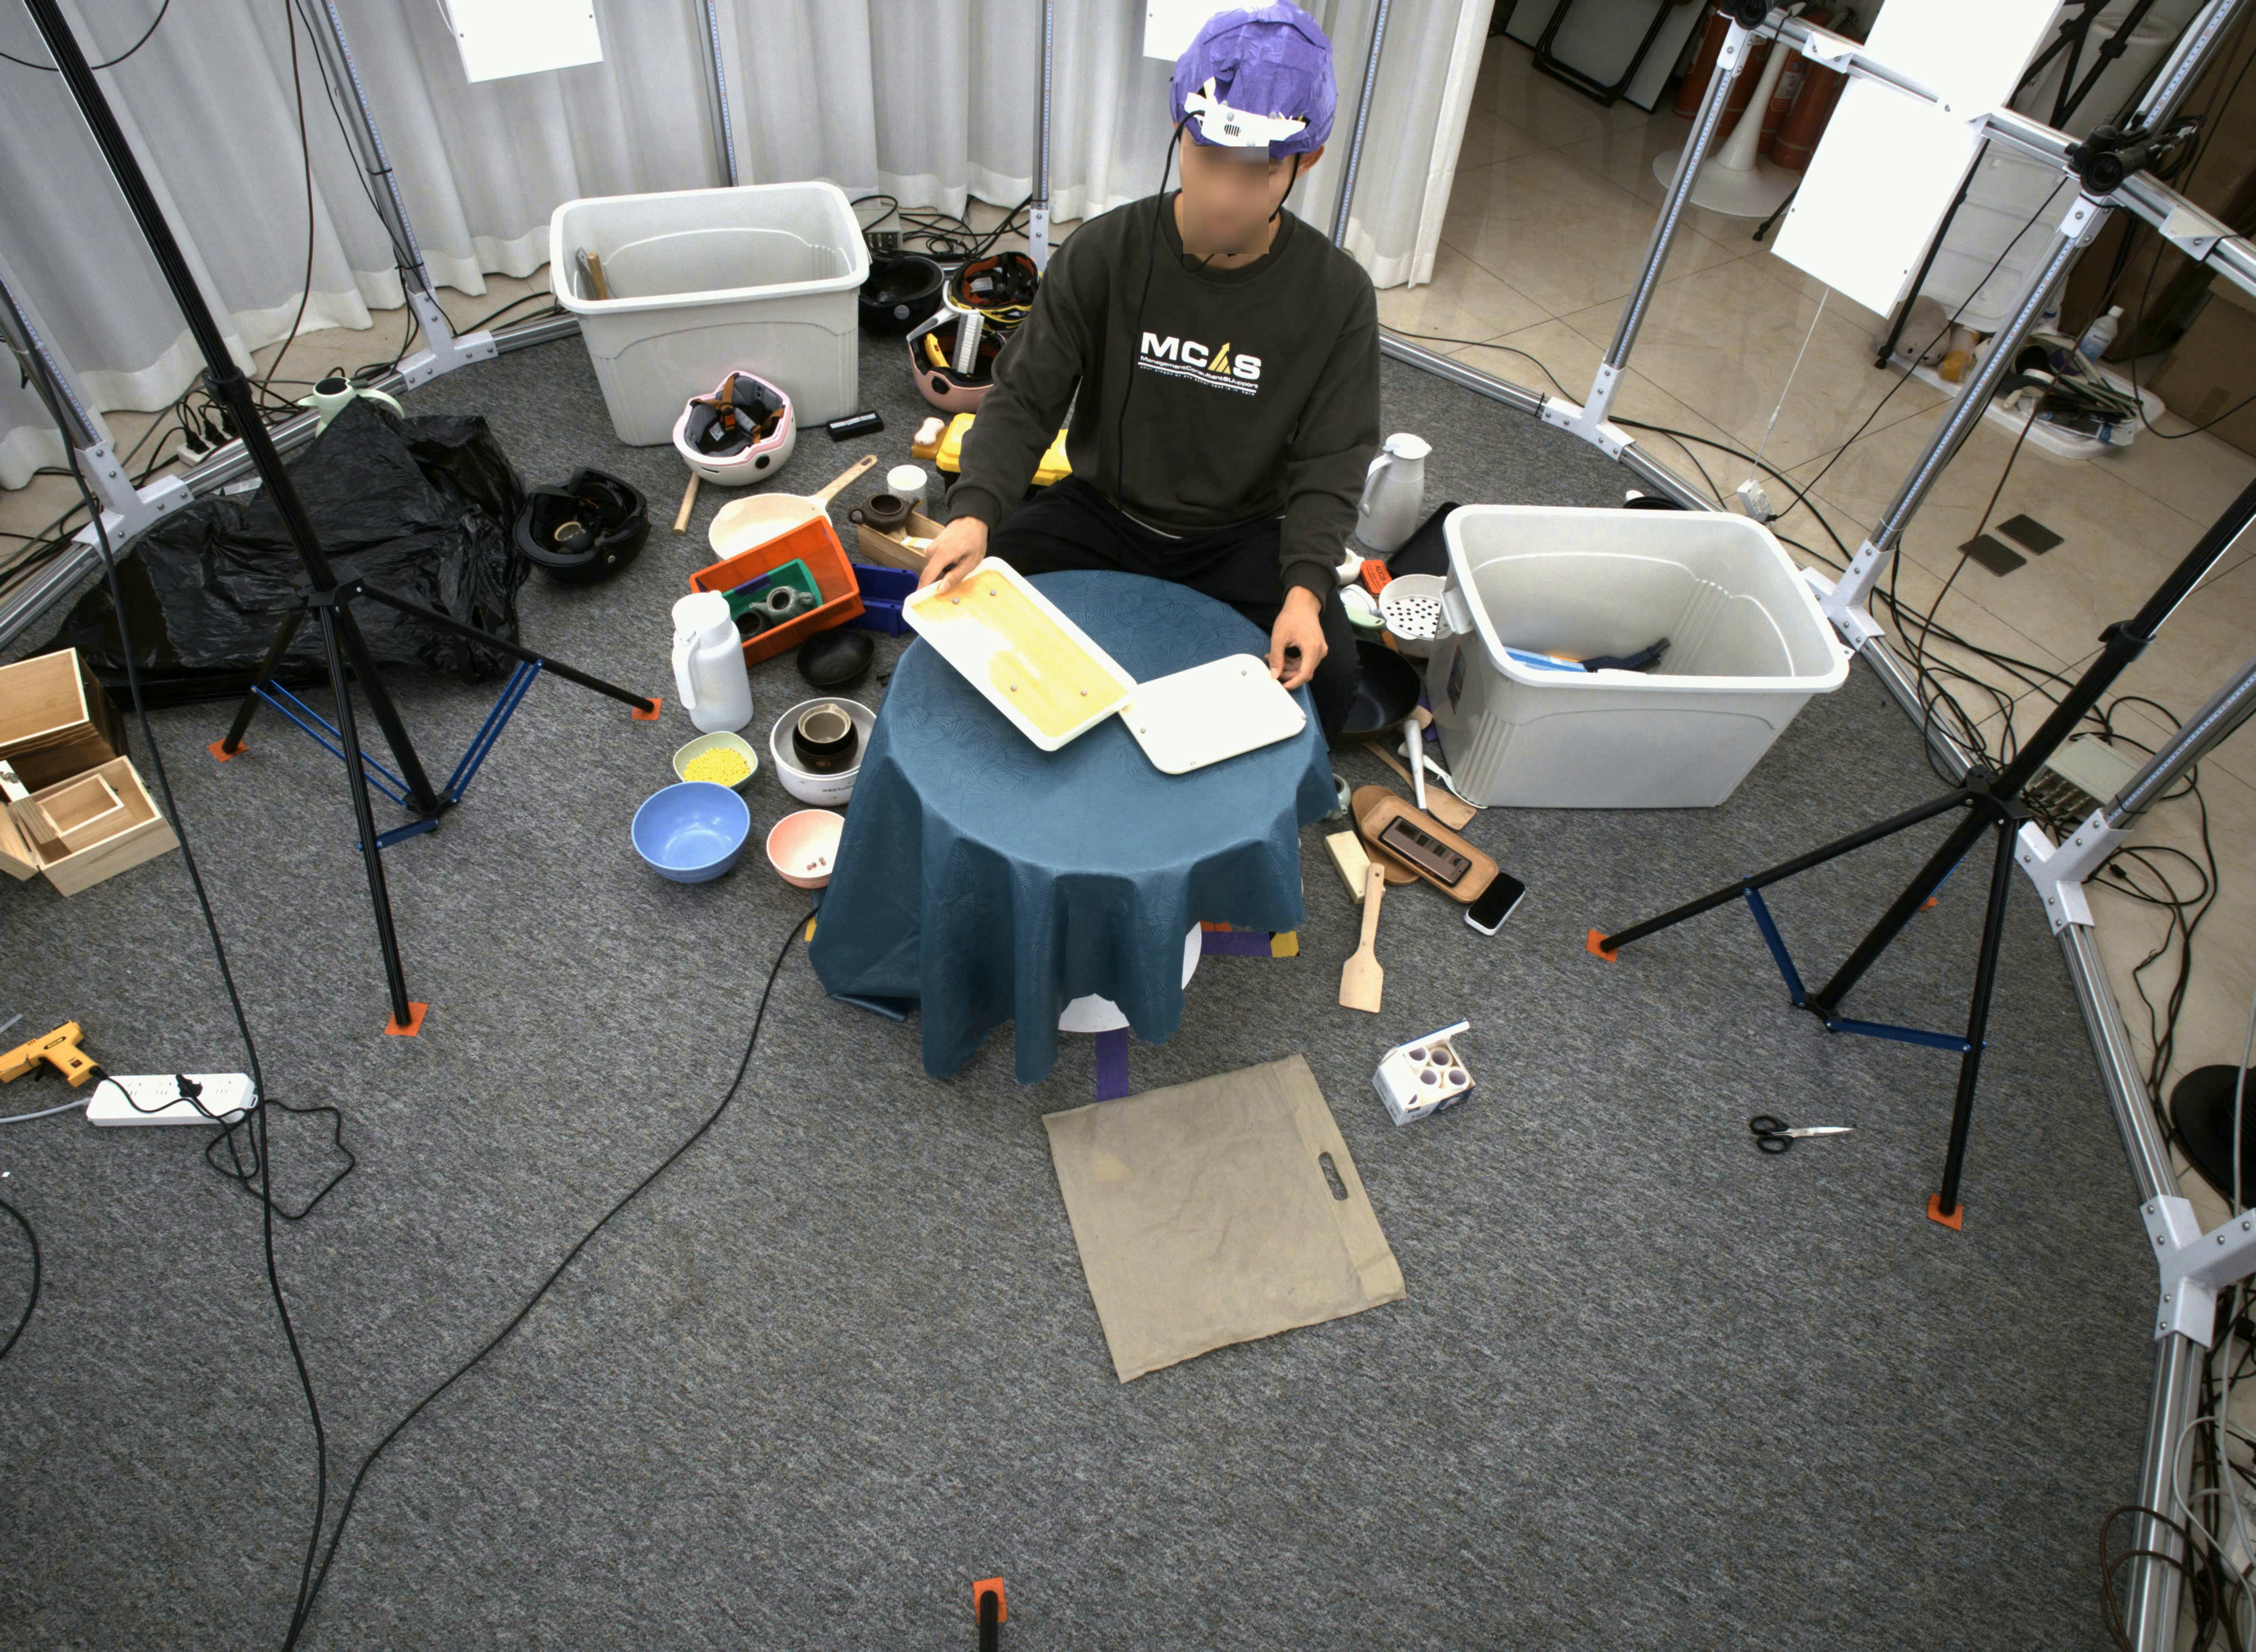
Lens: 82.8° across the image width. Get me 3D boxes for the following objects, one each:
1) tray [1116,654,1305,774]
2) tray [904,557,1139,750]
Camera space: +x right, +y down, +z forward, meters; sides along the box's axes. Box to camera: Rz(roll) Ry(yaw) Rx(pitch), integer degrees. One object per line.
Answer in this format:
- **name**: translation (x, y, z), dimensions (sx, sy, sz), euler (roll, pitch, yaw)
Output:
- **tray**: translation (0.115, -0.158, 1.799), dimensions (0.240, 0.017, 0.175), euler (-19, 52, -20)
- **tray**: translation (-0.146, -0.244, 1.777), dimensions (0.303, 0.027, 0.193), euler (43, 50, 14)
